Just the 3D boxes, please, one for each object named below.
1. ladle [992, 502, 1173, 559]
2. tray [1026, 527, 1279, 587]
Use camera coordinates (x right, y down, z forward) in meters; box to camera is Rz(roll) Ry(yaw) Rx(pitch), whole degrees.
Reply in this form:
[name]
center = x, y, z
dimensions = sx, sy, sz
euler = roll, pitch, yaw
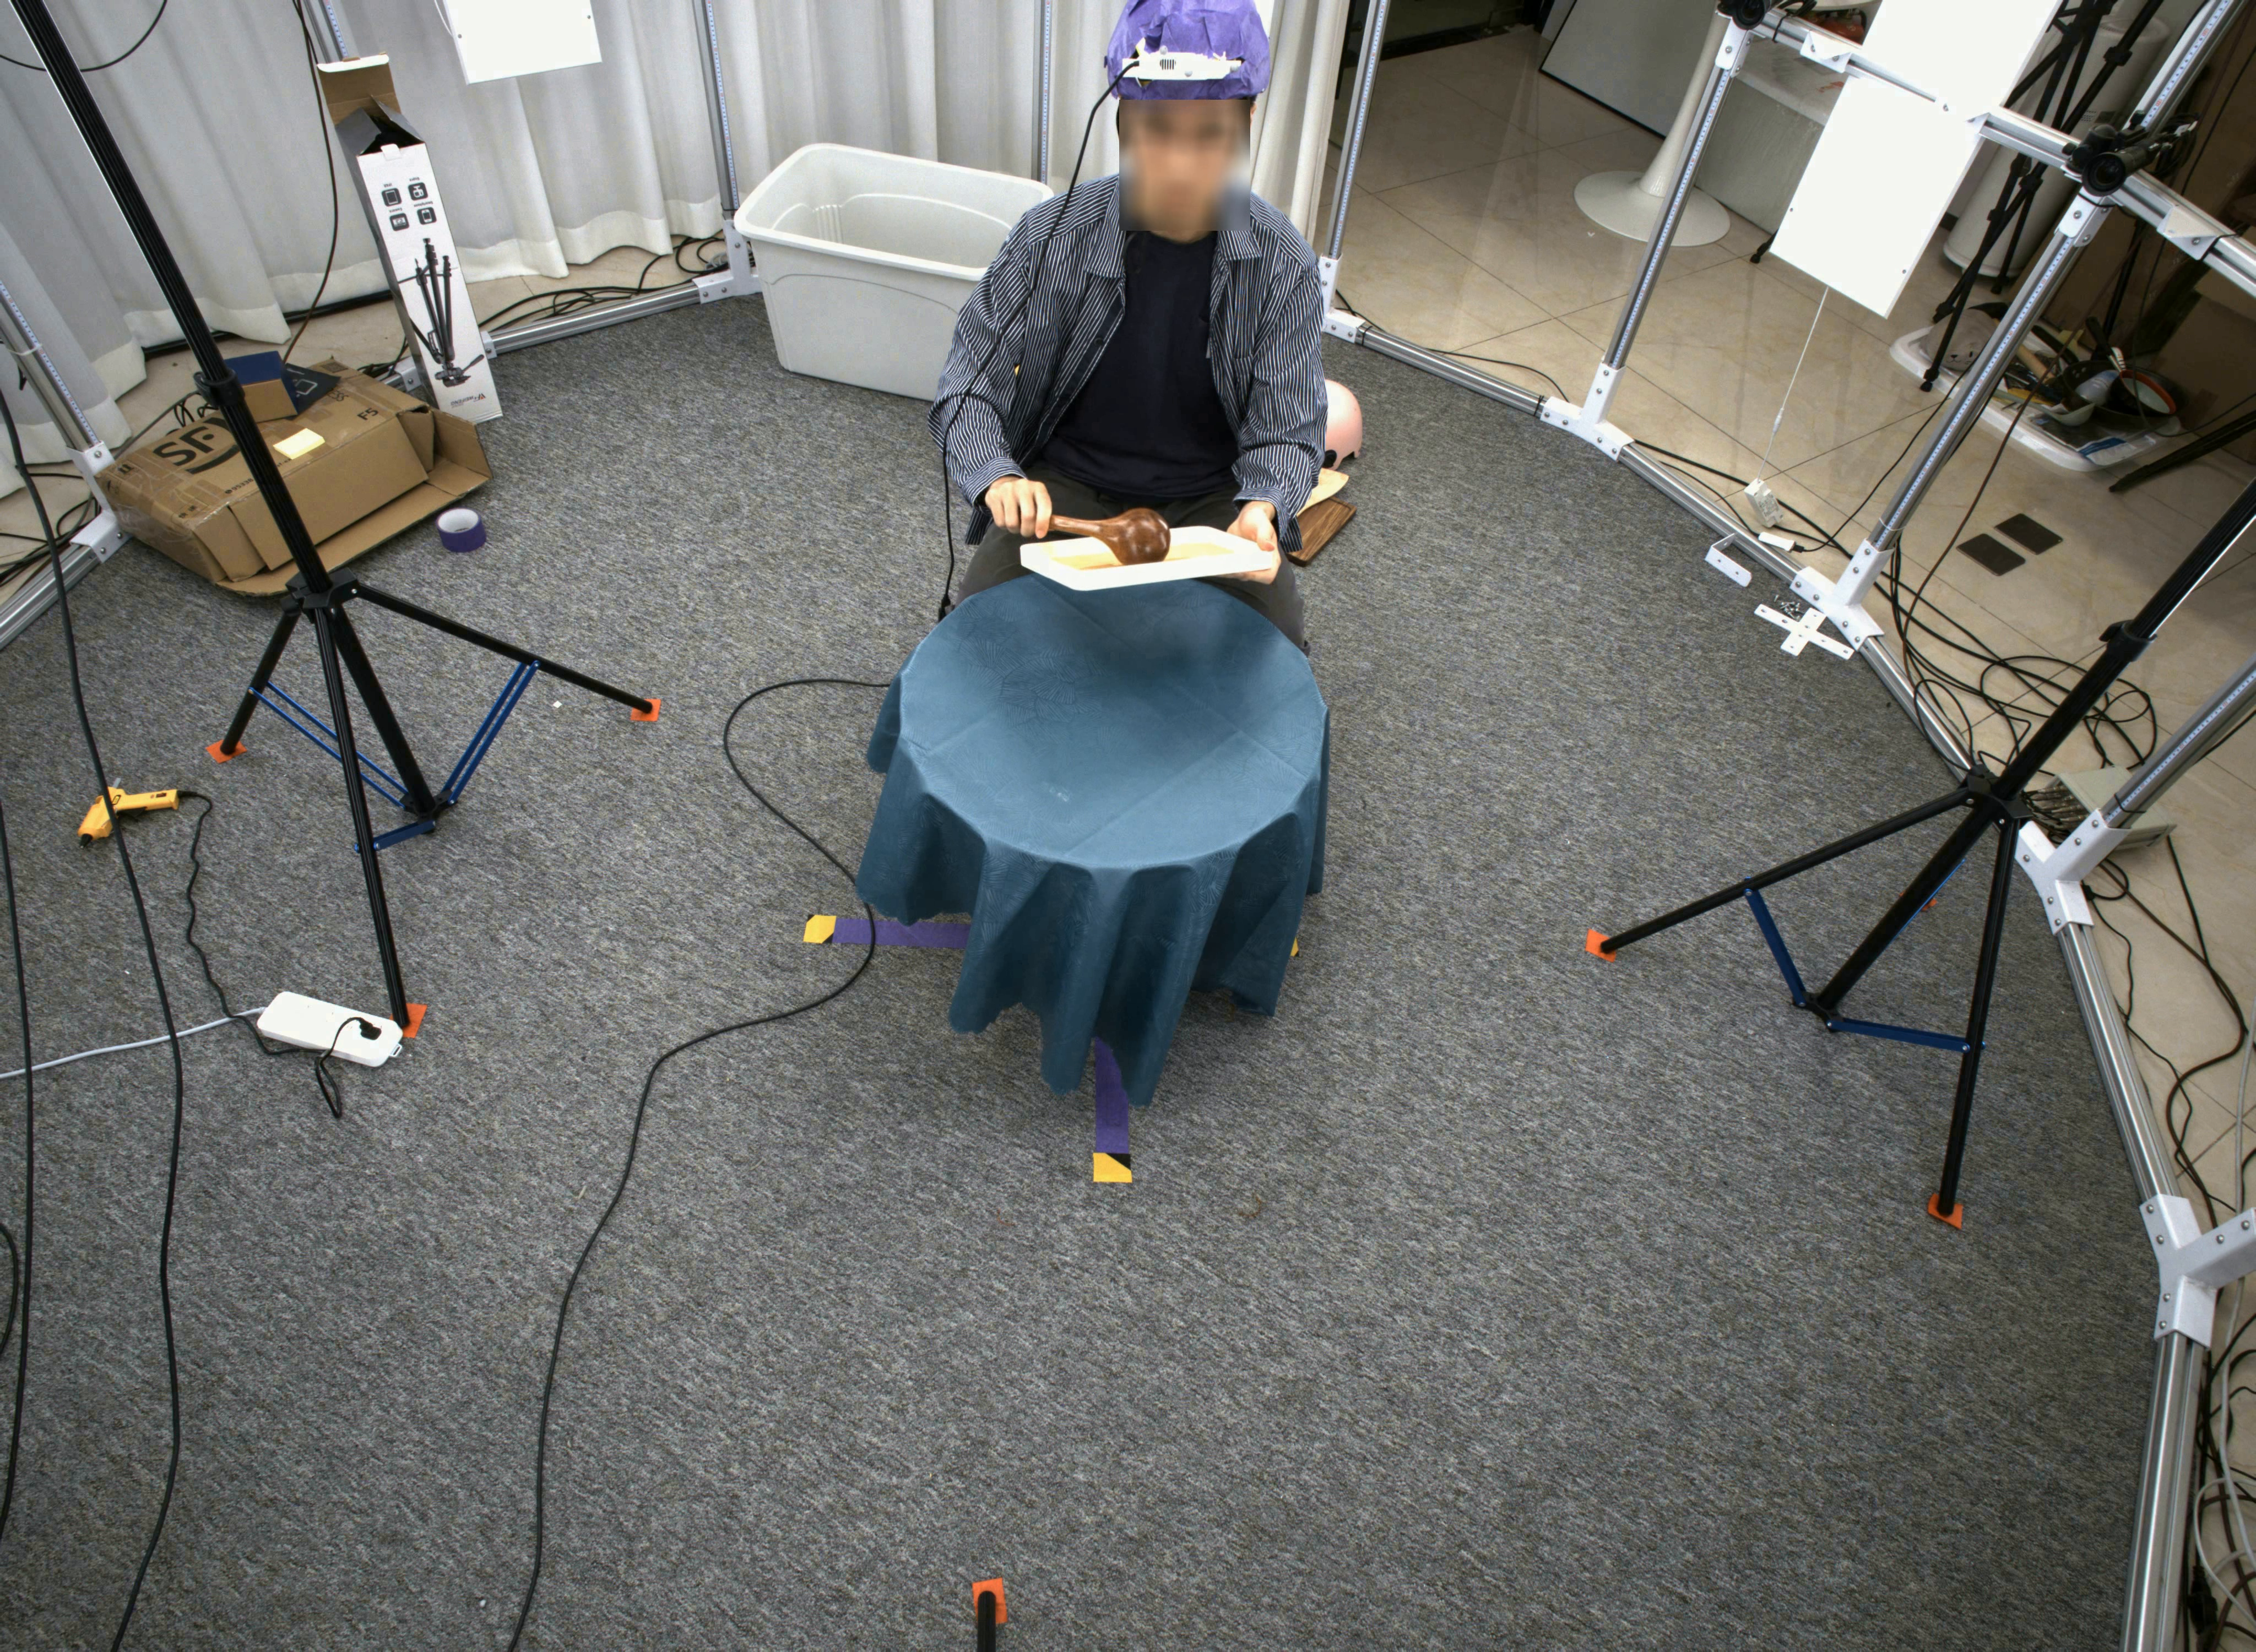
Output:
[ladle]
center = -0.061, -0.404, 1.735
dimensions = 0.277, 0.076, 0.082
euler = 18, 90, 37
[tray]
center = 0.033, -0.364, 1.734
dimensions = 0.300, 0.027, 0.195
euler = -11, 25, -26
